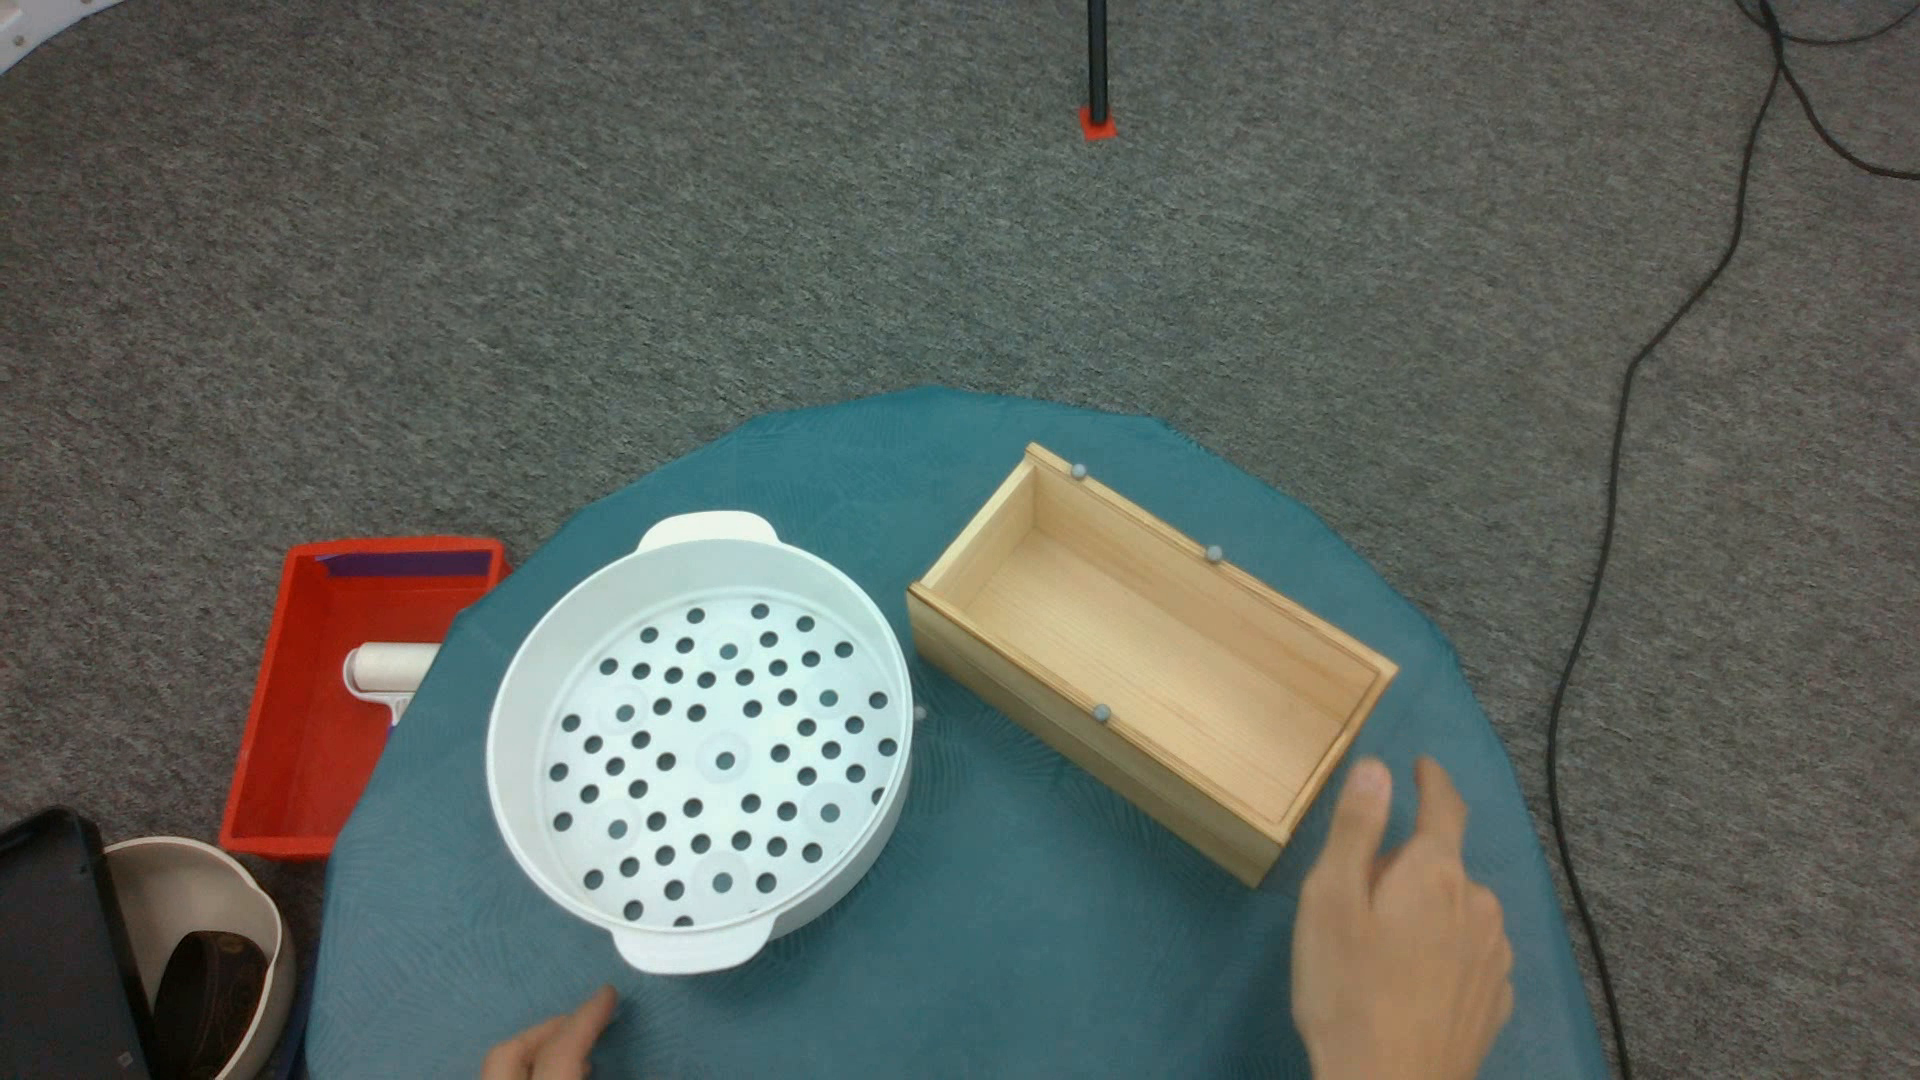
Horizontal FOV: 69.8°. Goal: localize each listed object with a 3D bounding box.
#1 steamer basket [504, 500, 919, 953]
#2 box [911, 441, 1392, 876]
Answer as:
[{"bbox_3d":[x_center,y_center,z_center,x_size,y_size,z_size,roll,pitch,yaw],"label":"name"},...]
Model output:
[{"bbox_3d":[-0.121,0.094,0.695,0.202,0.069,0.231,-4,63,1],"label":"steamer basket"},{"bbox_3d":[0.092,0.058,0.699,0.211,0.080,0.108,33,69,18],"label":"box"}]
